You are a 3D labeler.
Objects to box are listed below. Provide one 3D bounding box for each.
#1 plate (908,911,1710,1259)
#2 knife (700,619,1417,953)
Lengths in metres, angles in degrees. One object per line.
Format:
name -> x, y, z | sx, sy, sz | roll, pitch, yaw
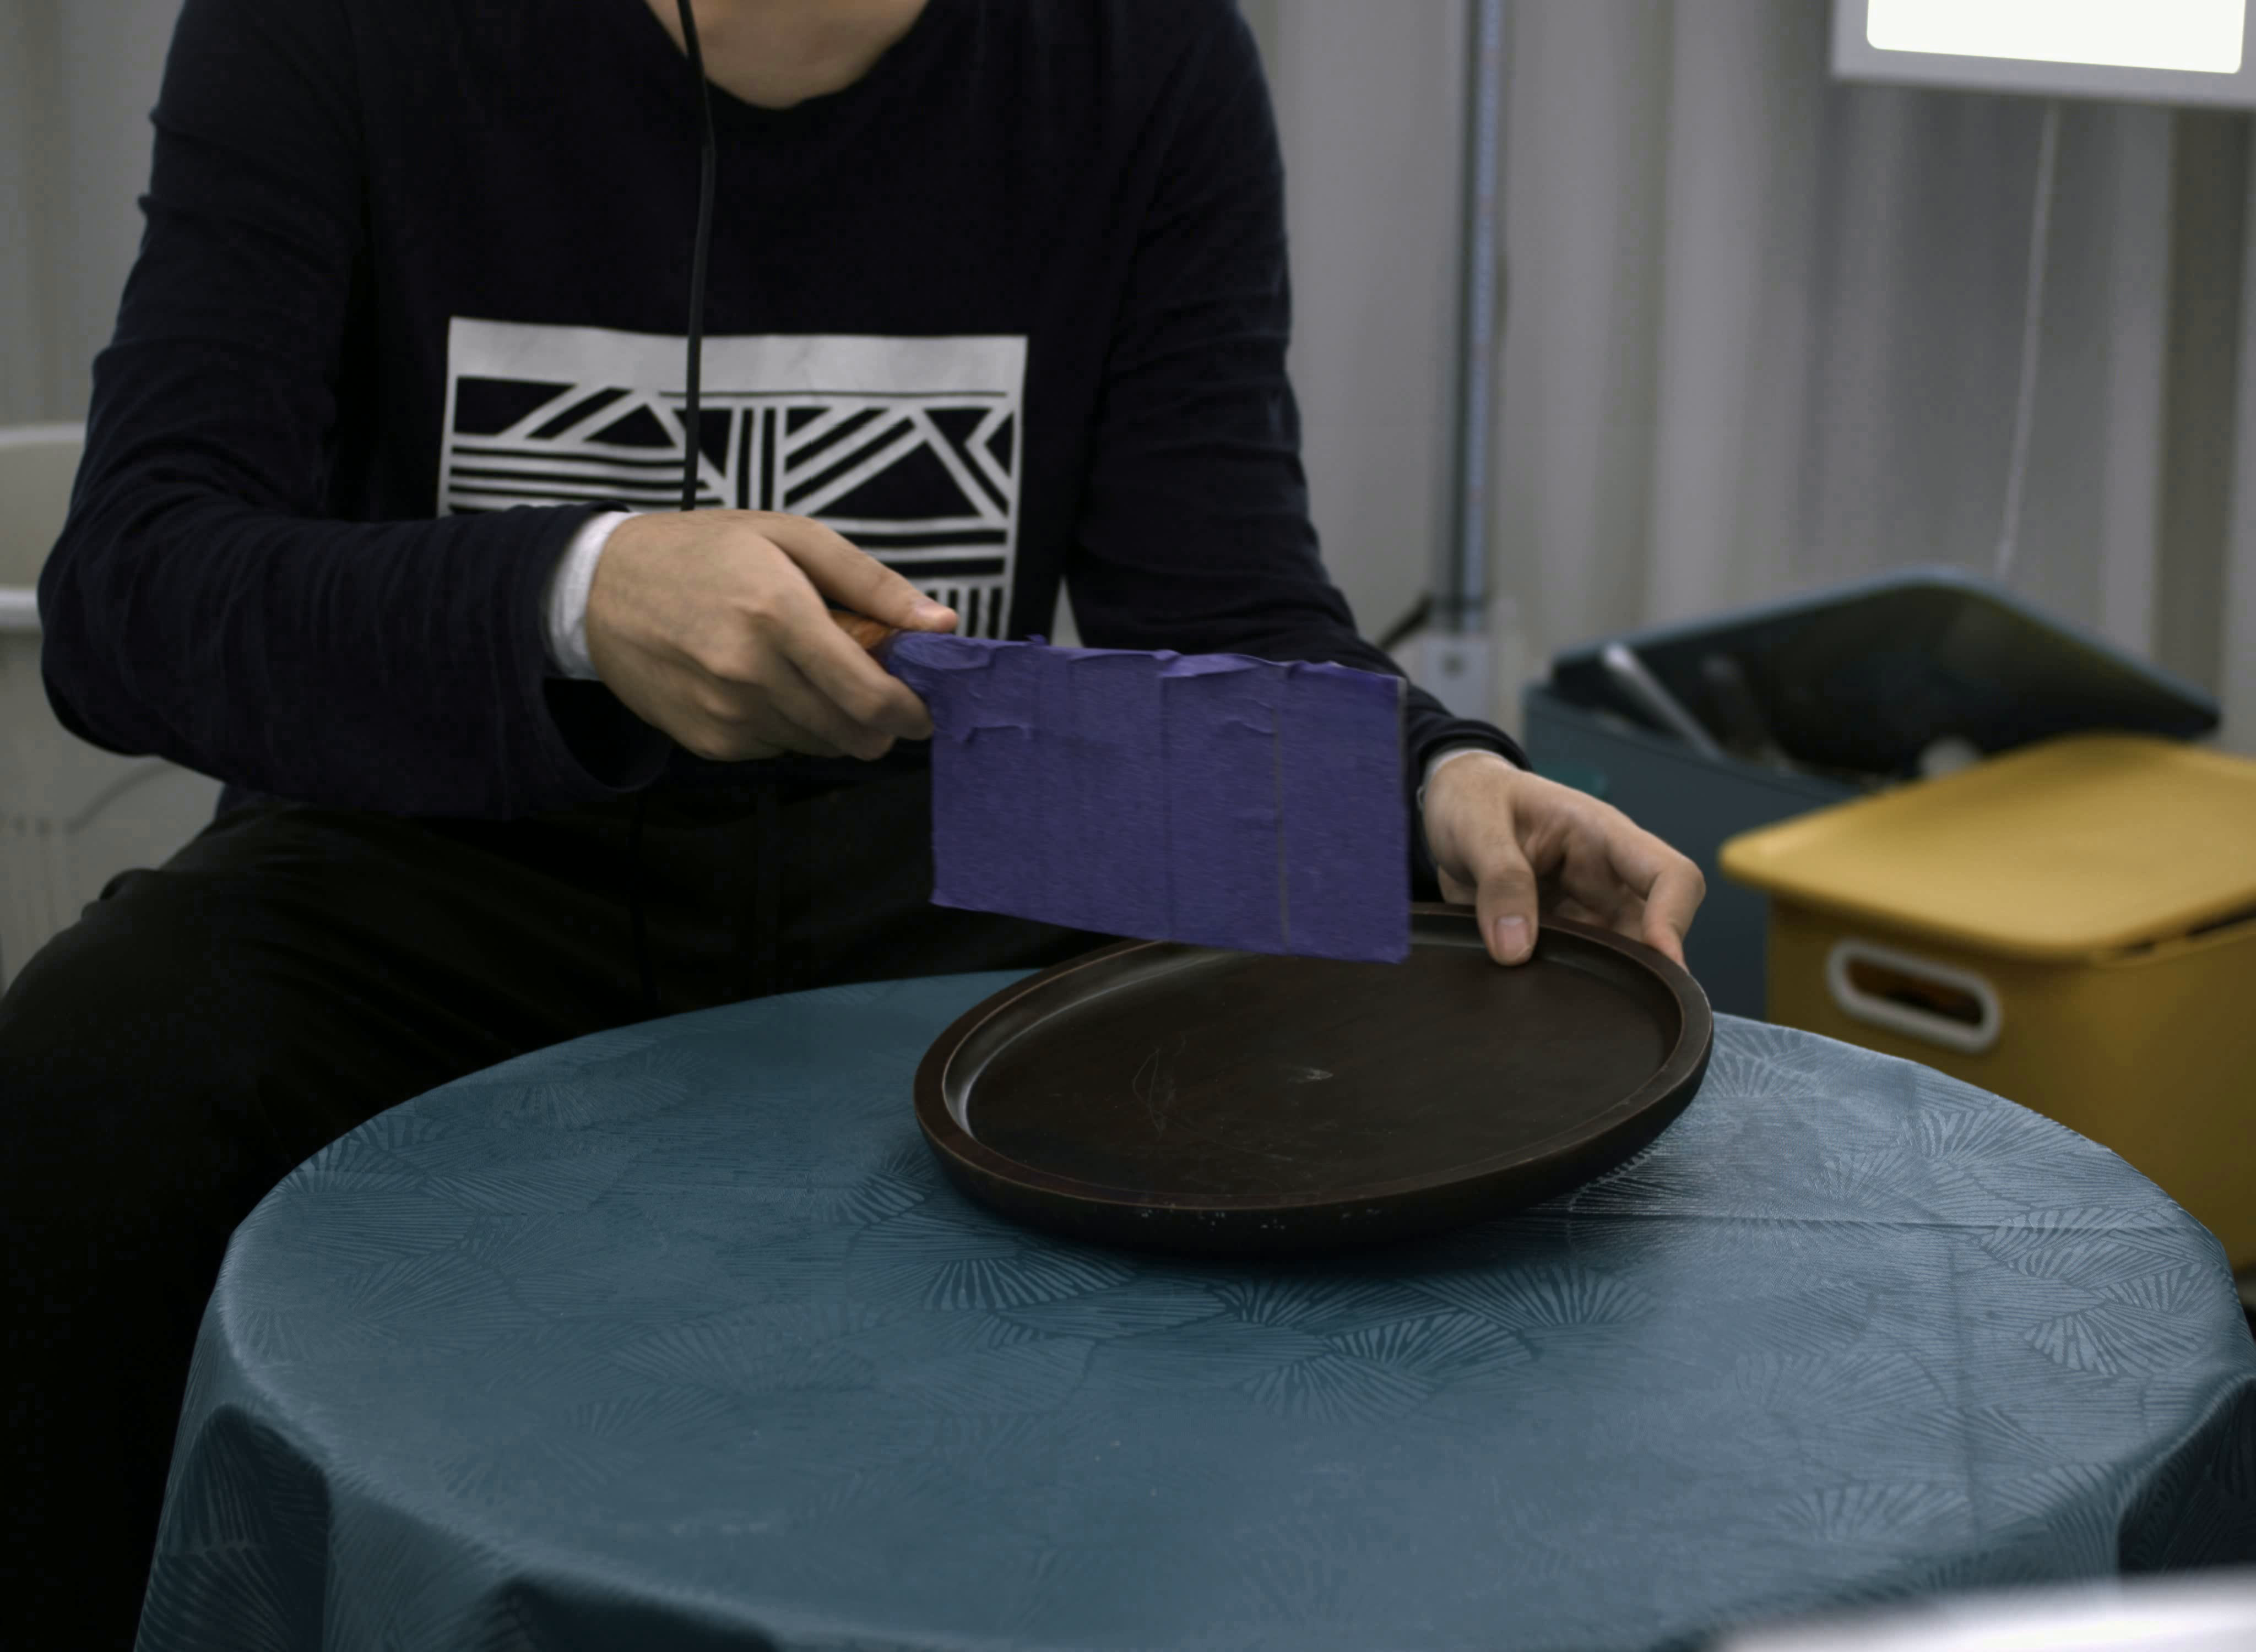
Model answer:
plate -> 0.057, 0.078, 1.654 | 0.254, 0.029, 0.253 | -6, 20, 3
knife -> -0.028, -0.015, 1.673 | 0.032, 0.104, 0.311 | -7, 9, -43
